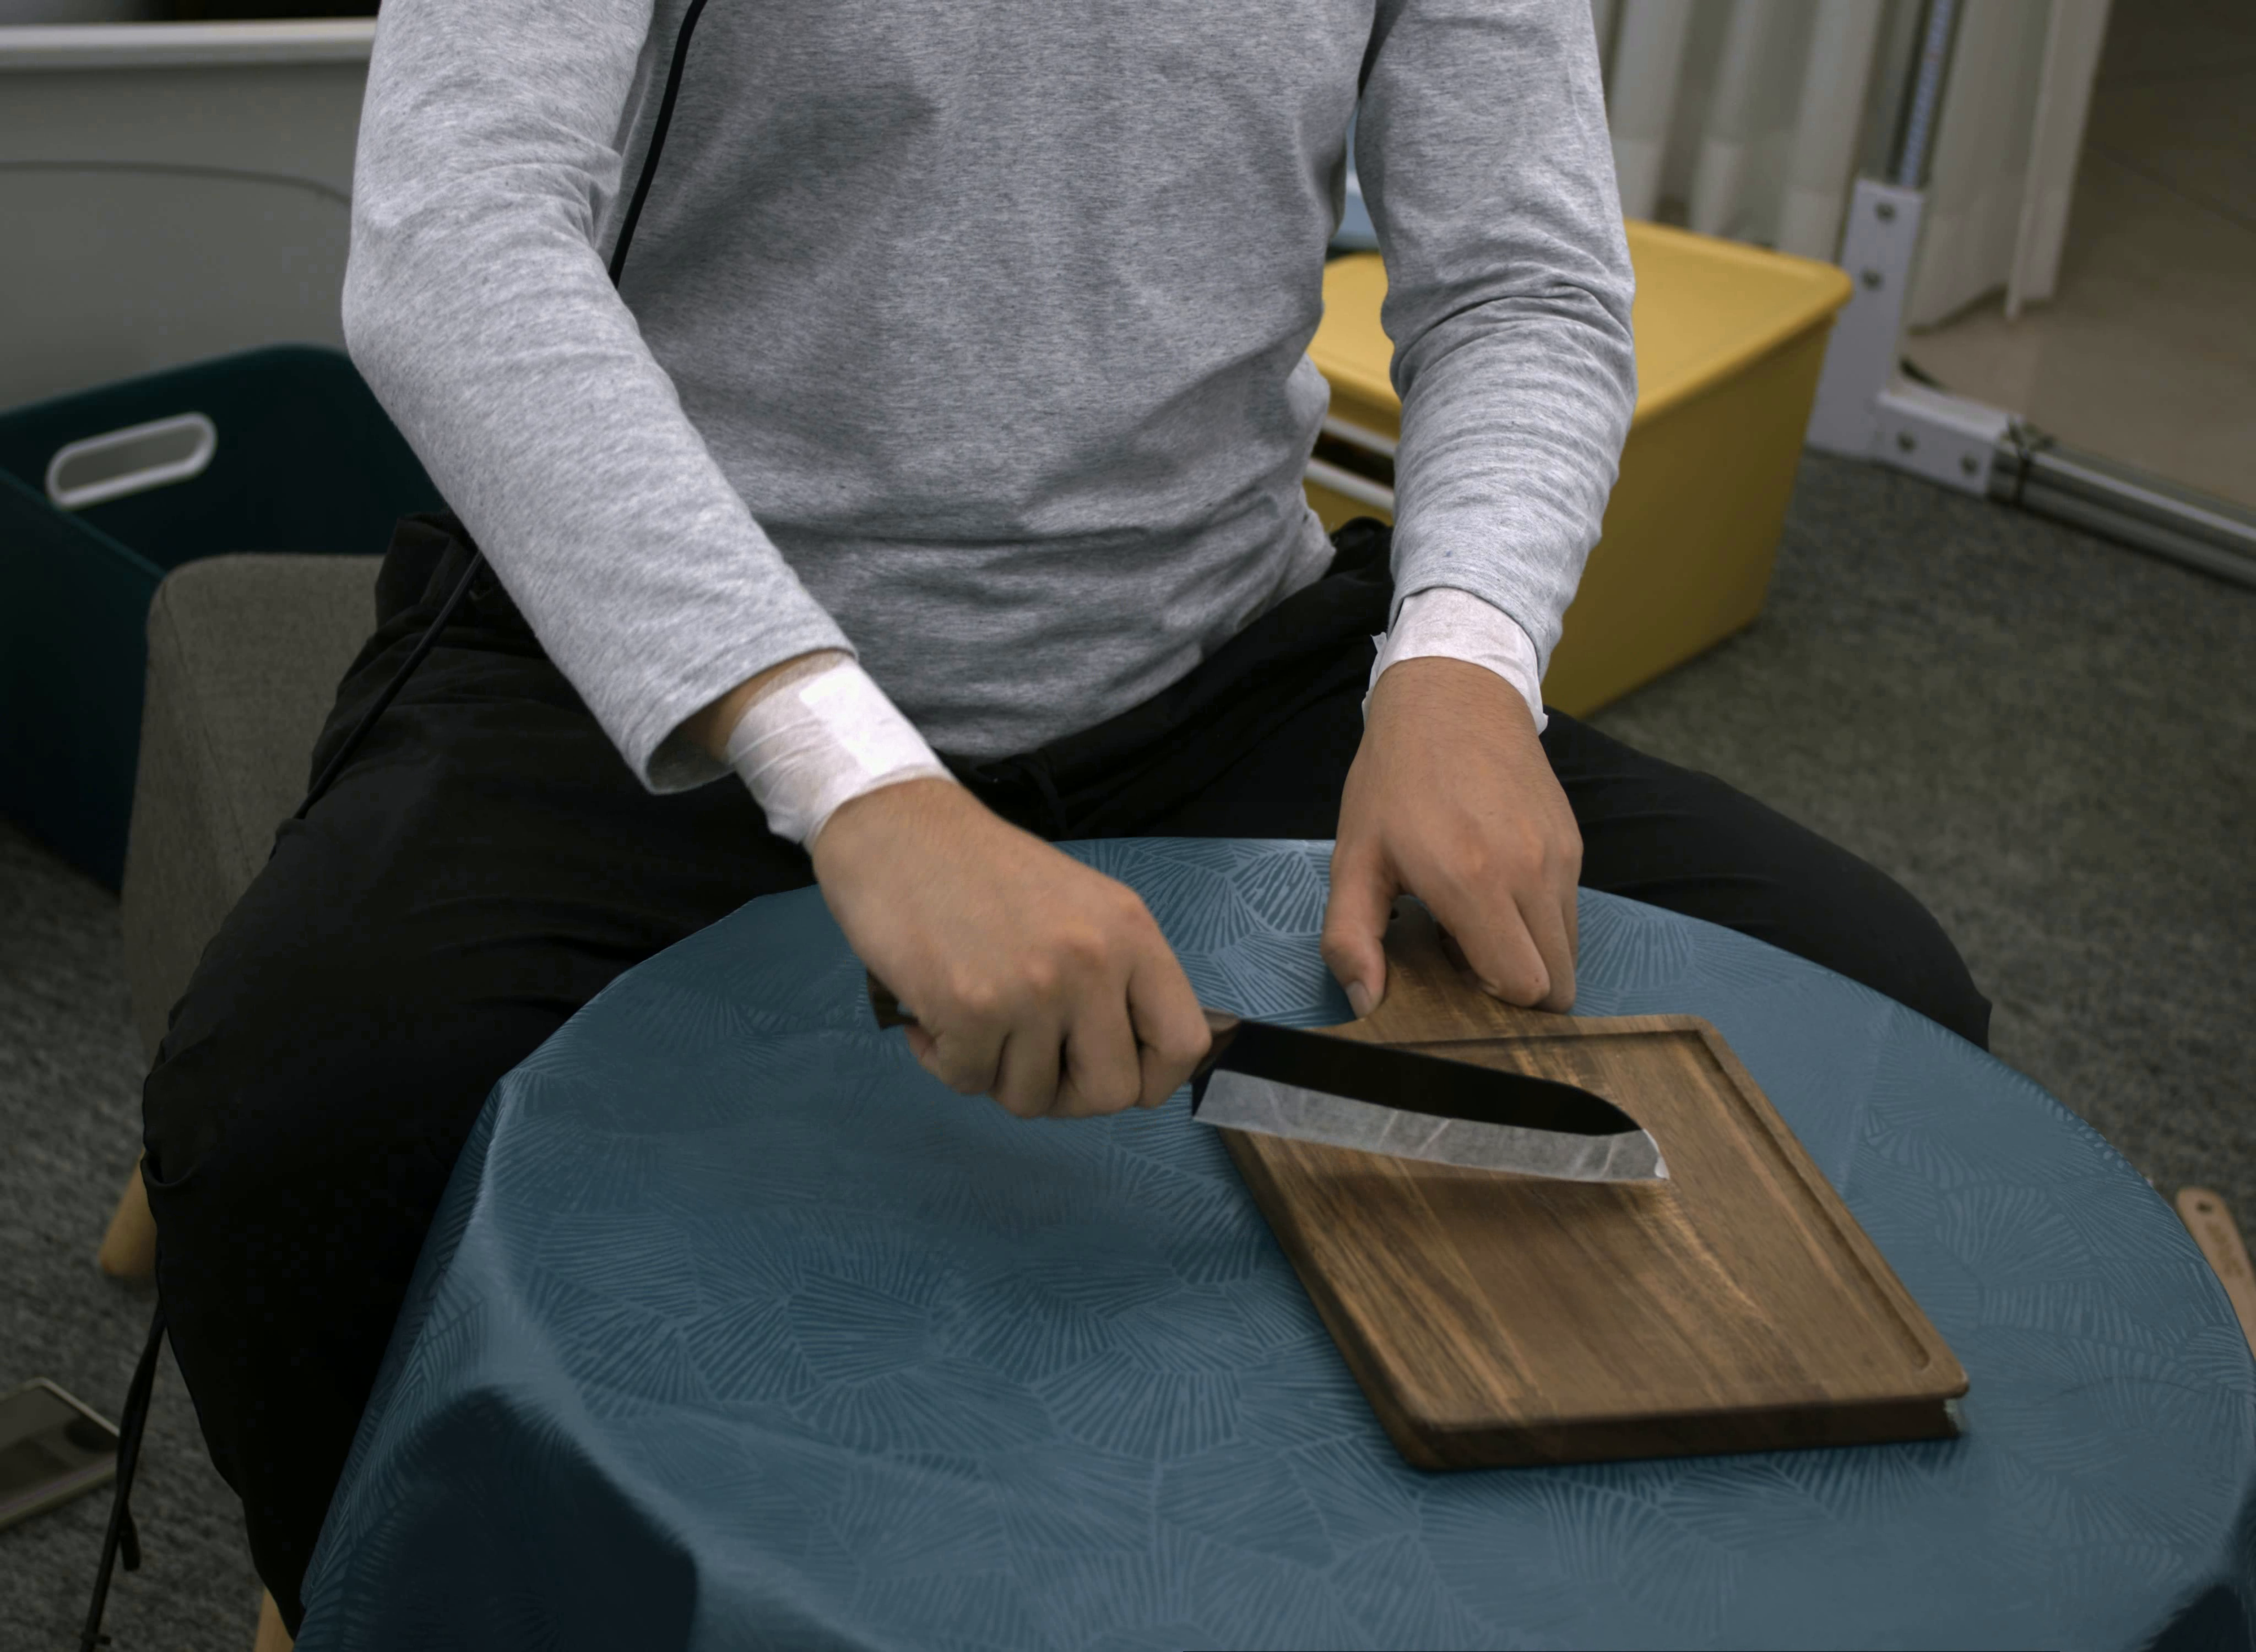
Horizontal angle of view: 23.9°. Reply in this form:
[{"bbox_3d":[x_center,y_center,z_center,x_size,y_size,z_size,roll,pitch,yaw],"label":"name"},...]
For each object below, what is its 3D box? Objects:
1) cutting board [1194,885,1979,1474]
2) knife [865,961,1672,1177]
[{"bbox_3d":[0.136,0.112,1.837,0.200,0.023,0.355,-1,28,-17],"label":"cutting board"},{"bbox_3d":[0.049,0.084,1.782,0.287,0.050,0.020,13,34,-11],"label":"knife"}]
